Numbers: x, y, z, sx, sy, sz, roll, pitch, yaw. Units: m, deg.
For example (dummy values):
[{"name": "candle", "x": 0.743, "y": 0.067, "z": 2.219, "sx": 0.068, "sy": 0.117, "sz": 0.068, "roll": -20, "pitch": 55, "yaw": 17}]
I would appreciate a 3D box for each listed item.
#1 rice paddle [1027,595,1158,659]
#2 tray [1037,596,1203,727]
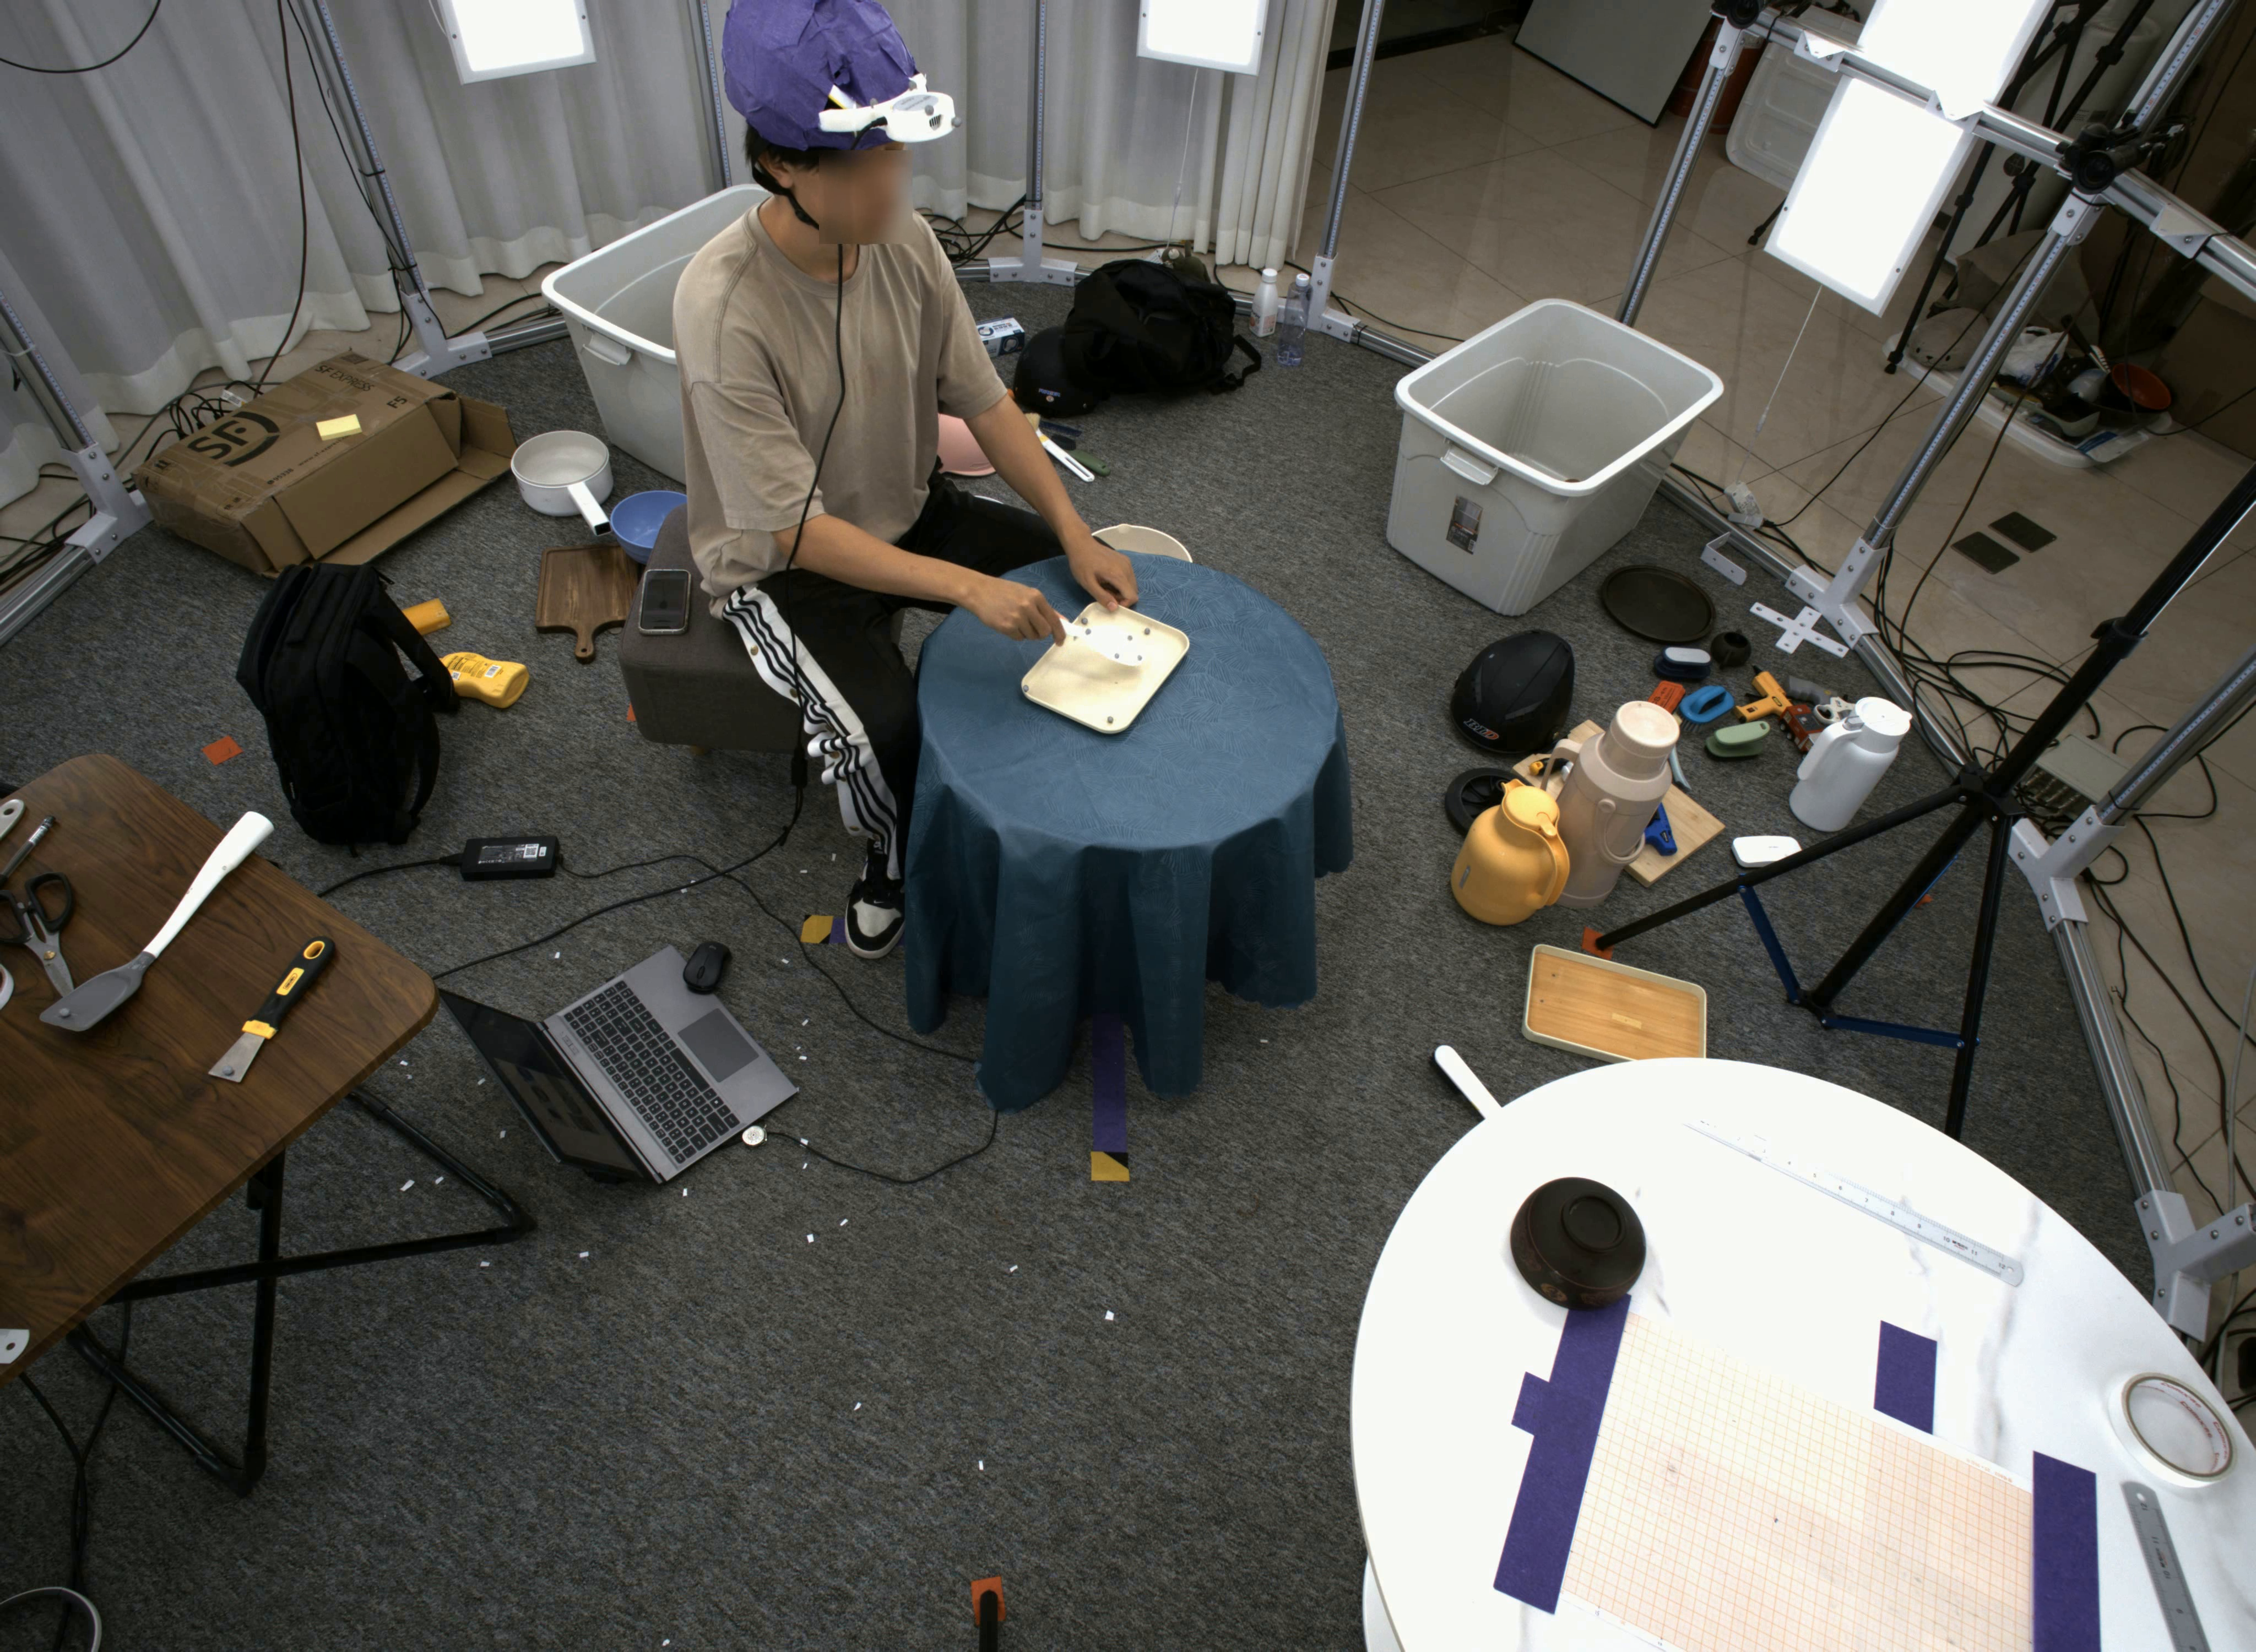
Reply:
[{"name": "rice paddle", "x": -0.044, "y": -0.279, "z": 1.800, "sx": 0.203, "sy": 0.029, "sz": 0.070, "roll": 14, "pitch": 50, "yaw": -26}, {"name": "tray", "x": -0.009, "y": -0.239, "z": 1.849, "sx": 0.172, "sy": 0.017, "sz": 0.243, "roll": 25, "pitch": 50, "yaw": 15}]
